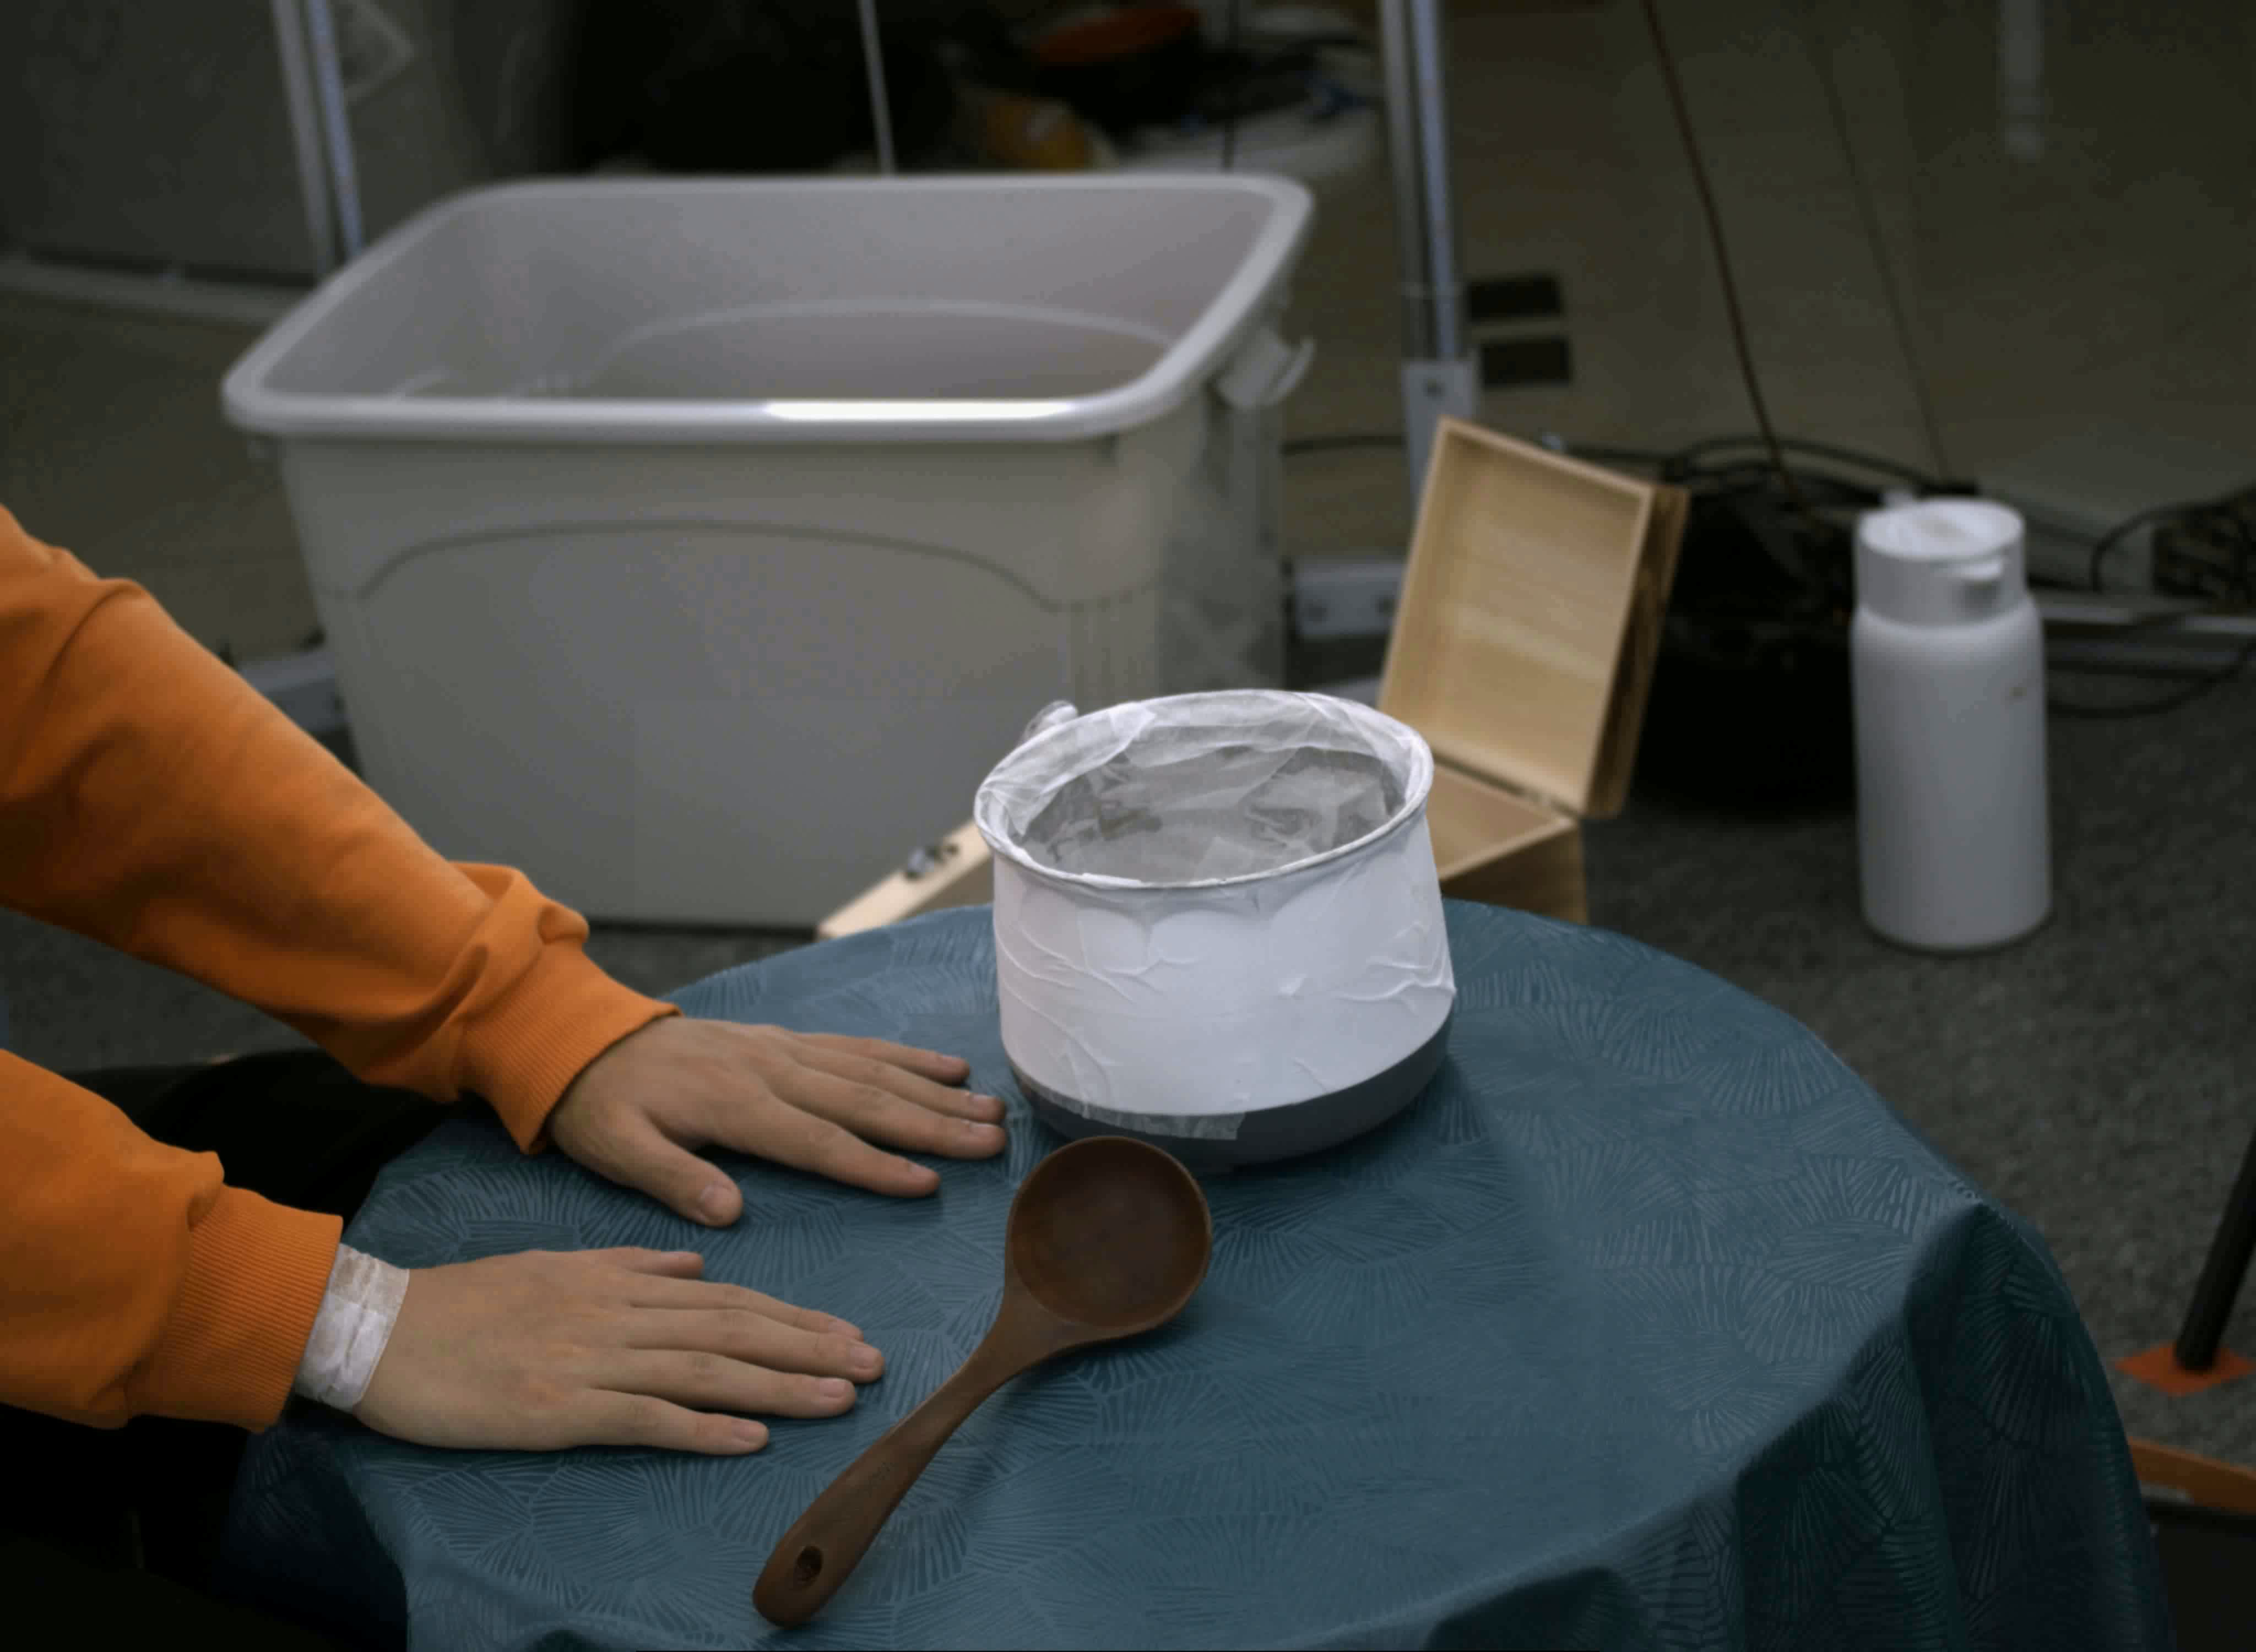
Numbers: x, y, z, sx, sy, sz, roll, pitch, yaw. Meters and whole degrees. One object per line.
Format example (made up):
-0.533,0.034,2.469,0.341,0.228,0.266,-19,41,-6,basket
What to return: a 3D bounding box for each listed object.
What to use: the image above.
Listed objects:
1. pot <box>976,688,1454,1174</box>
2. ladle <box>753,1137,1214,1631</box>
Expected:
0.019,0.033,2.203,0.177,0.139,0.231,-22,30,-30,pot
-0.052,0.191,1.977,0.076,0.066,0.257,31,36,14,ladle
